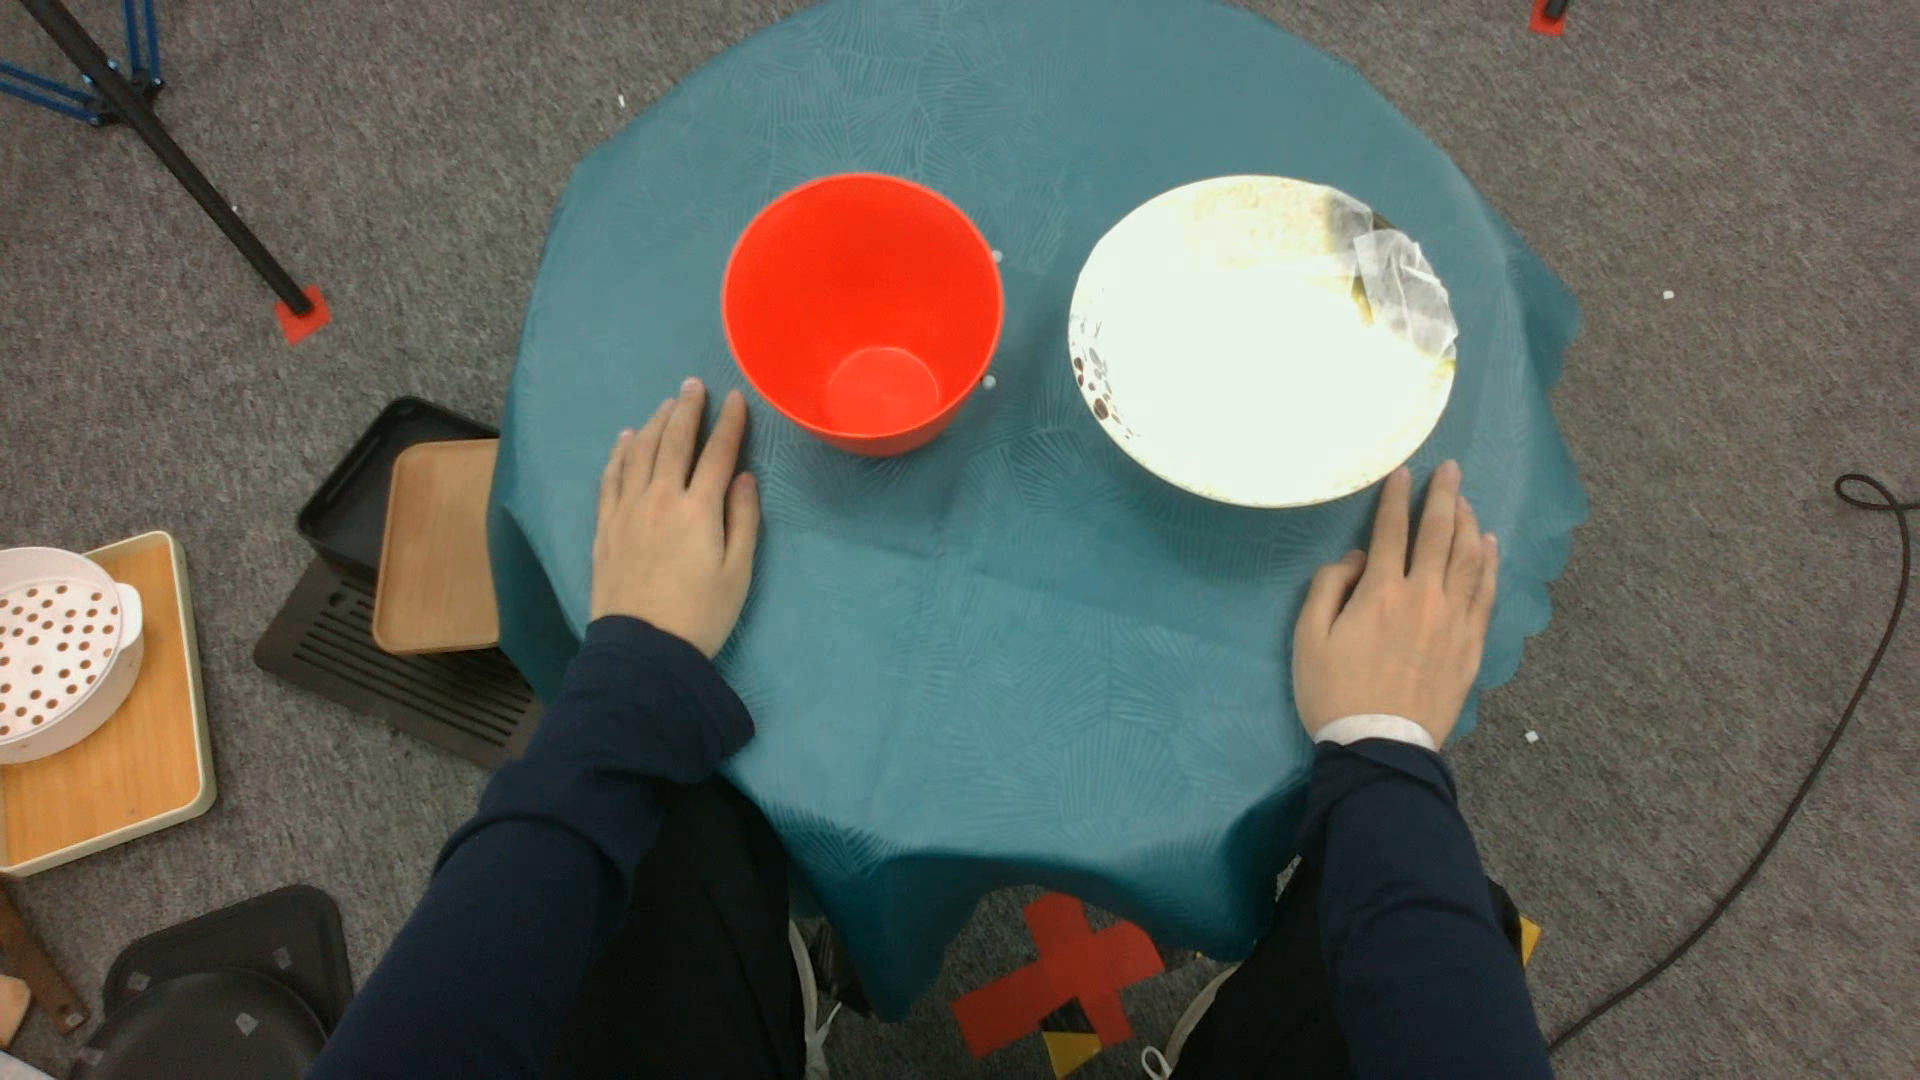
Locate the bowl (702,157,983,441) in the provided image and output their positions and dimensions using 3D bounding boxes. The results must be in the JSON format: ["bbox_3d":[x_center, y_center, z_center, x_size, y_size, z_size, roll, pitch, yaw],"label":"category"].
[{"bbox_3d":[-0.061,-0.119,0.761,0.148,0.104,0.148,0,69,0],"label":"bowl"}]

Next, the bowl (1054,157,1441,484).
[{"bbox_3d":[0.153,-0.108,0.765,0.204,0.077,0.204,-1,66,2],"label":"bowl"}]
